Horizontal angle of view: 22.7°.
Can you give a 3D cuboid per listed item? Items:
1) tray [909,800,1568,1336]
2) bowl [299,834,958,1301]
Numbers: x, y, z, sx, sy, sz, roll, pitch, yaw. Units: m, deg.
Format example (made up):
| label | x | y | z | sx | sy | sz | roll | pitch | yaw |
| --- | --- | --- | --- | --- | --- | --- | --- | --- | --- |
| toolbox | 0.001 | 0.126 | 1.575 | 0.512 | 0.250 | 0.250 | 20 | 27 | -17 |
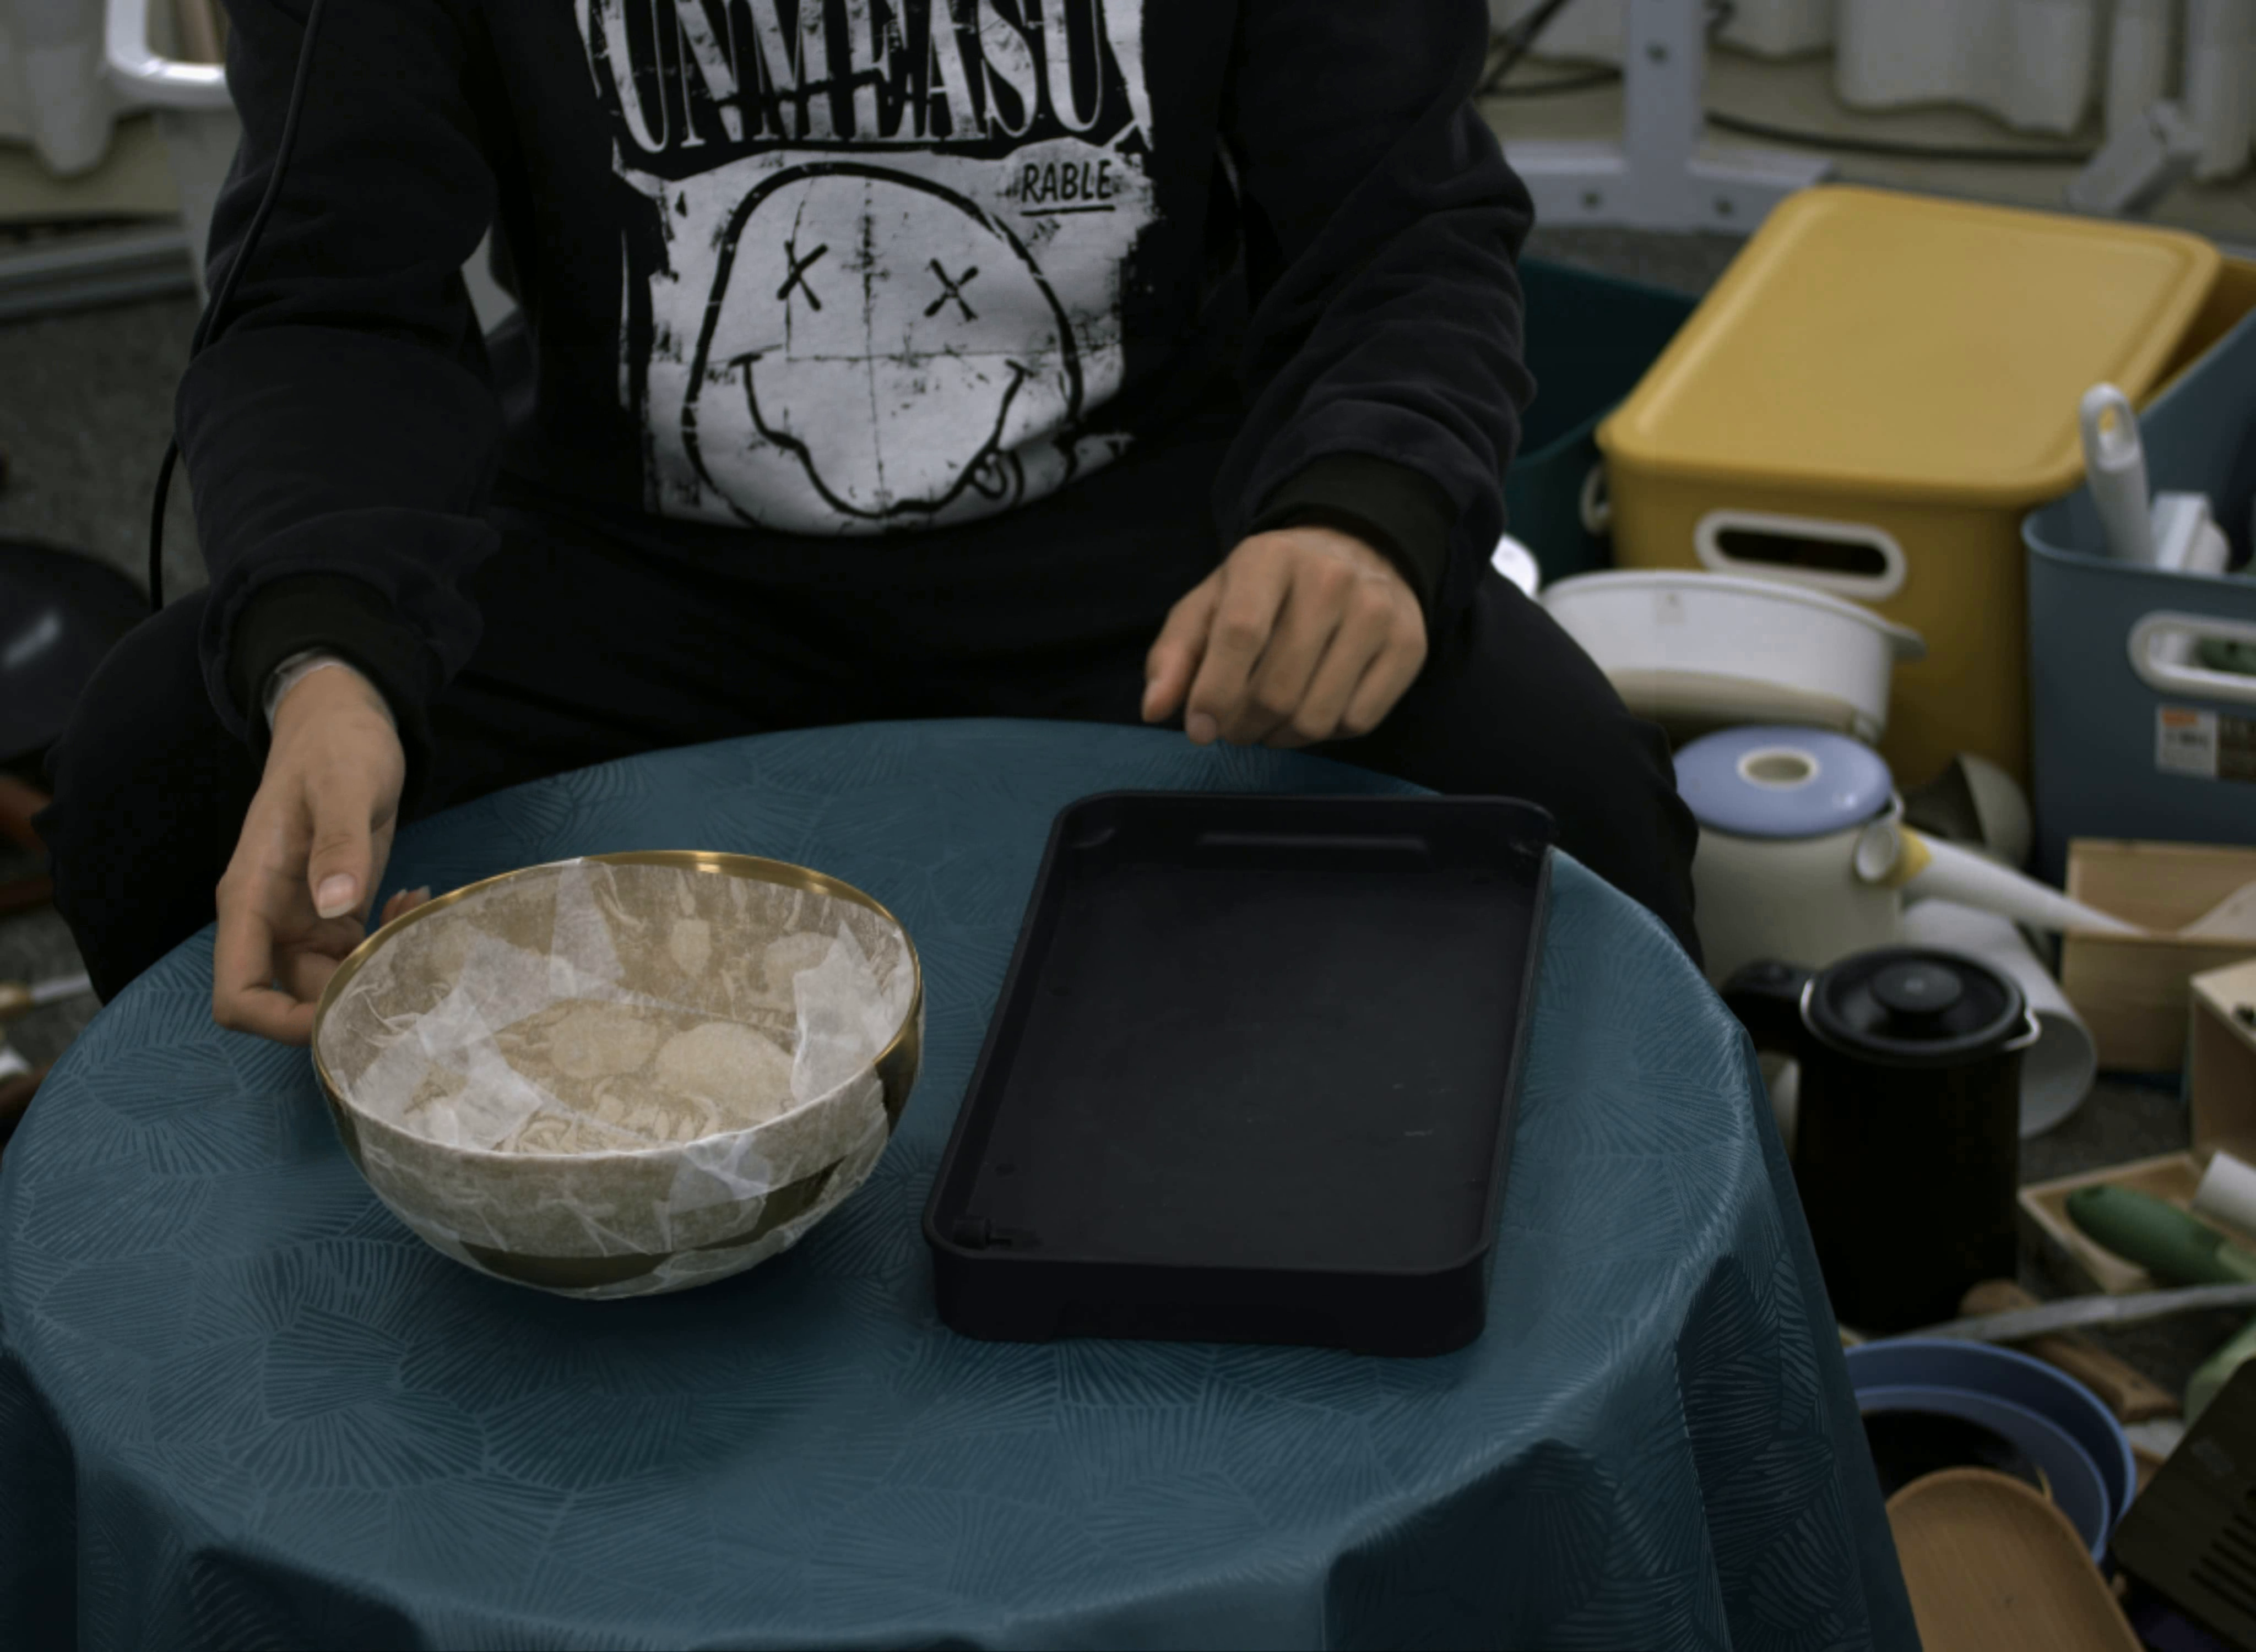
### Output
| label | x | y | z | sx | sy | sz | roll | pitch | yaw |
| --- | --- | --- | --- | --- | --- | --- | --- | --- | --- |
| tray | 0.045 | 0.075 | 1.901 | 0.183 | 0.036 | 0.323 | 1 | 26 | 10 |
| bowl | -0.160 | 0.092 | 1.836 | 0.213 | 0.093 | 0.218 | -3 | 27 | 2 |
